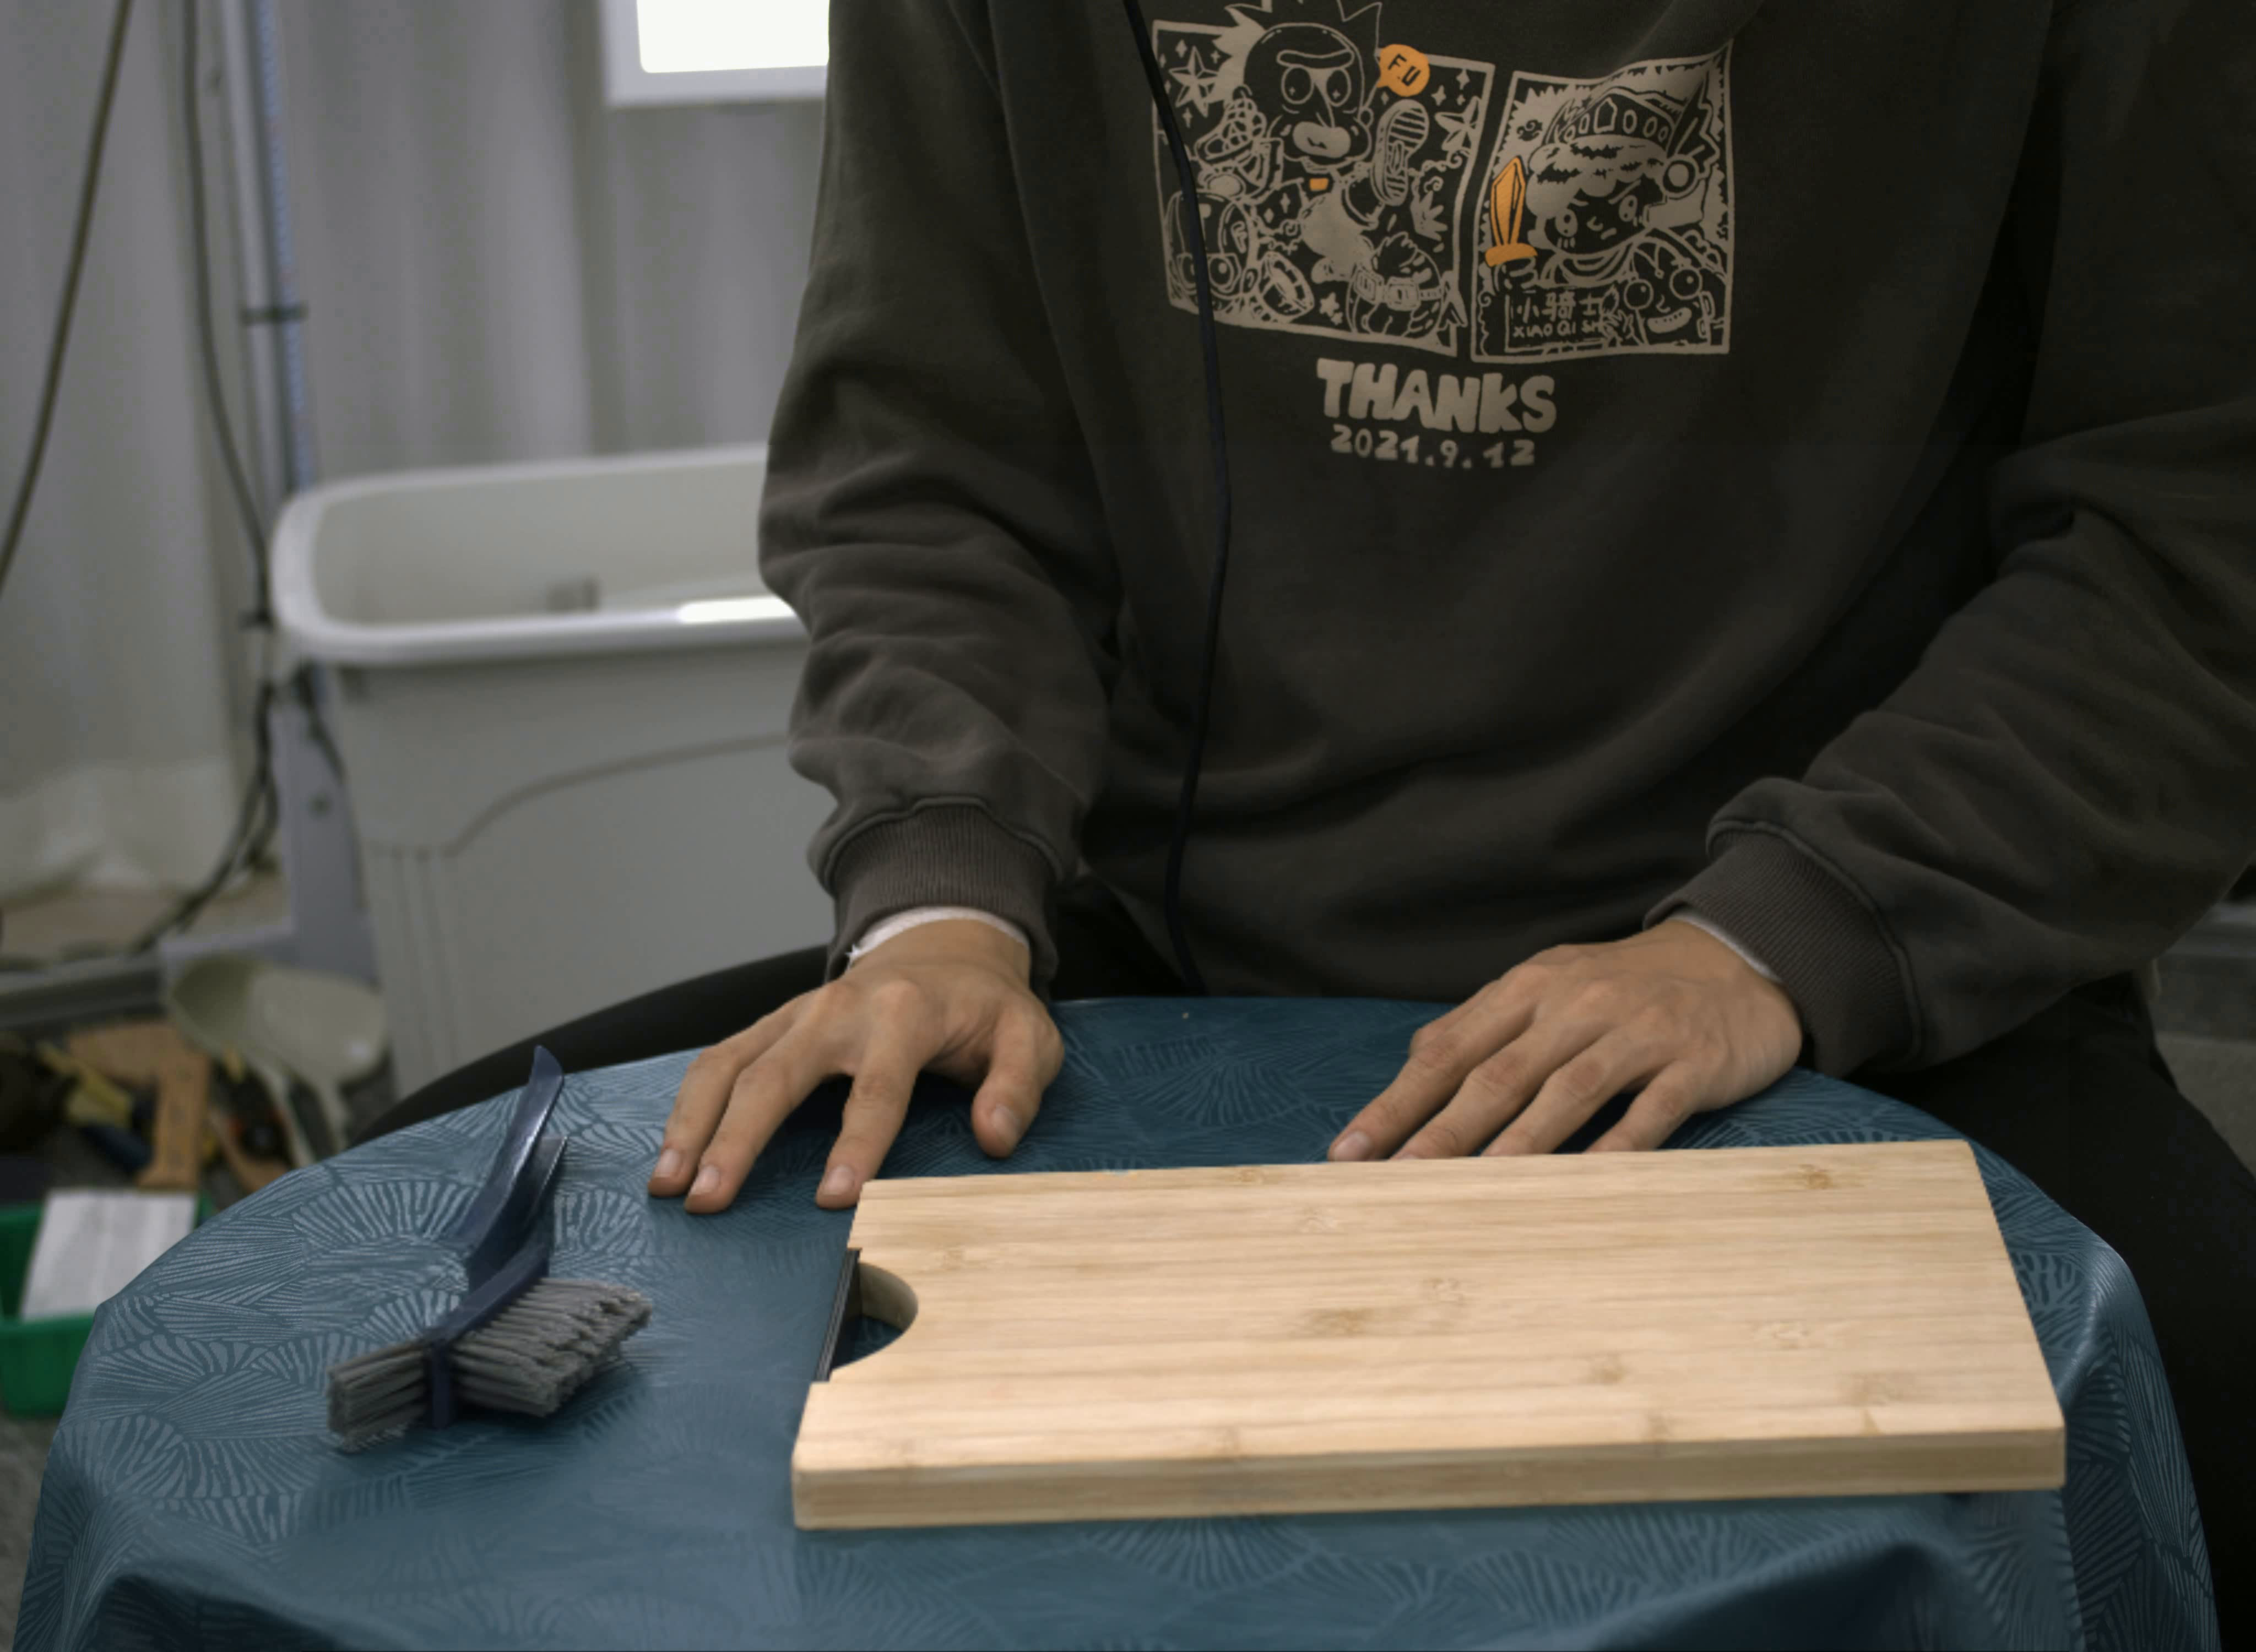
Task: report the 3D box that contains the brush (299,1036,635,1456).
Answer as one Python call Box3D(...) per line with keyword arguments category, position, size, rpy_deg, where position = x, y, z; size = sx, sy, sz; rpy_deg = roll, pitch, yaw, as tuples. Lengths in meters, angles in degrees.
Box3D(category="brush", position=(-0.199, 0.124, 1.667), size=(0.095, 0.033, 0.275), rpy_deg=(-4, 16, -5))

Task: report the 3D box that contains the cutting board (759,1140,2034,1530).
Box3D(category="cutting board", position=(0.077, 0.144, 1.568), size=(0.347, 0.023, 0.252), rpy_deg=(-2, 15, 2))
